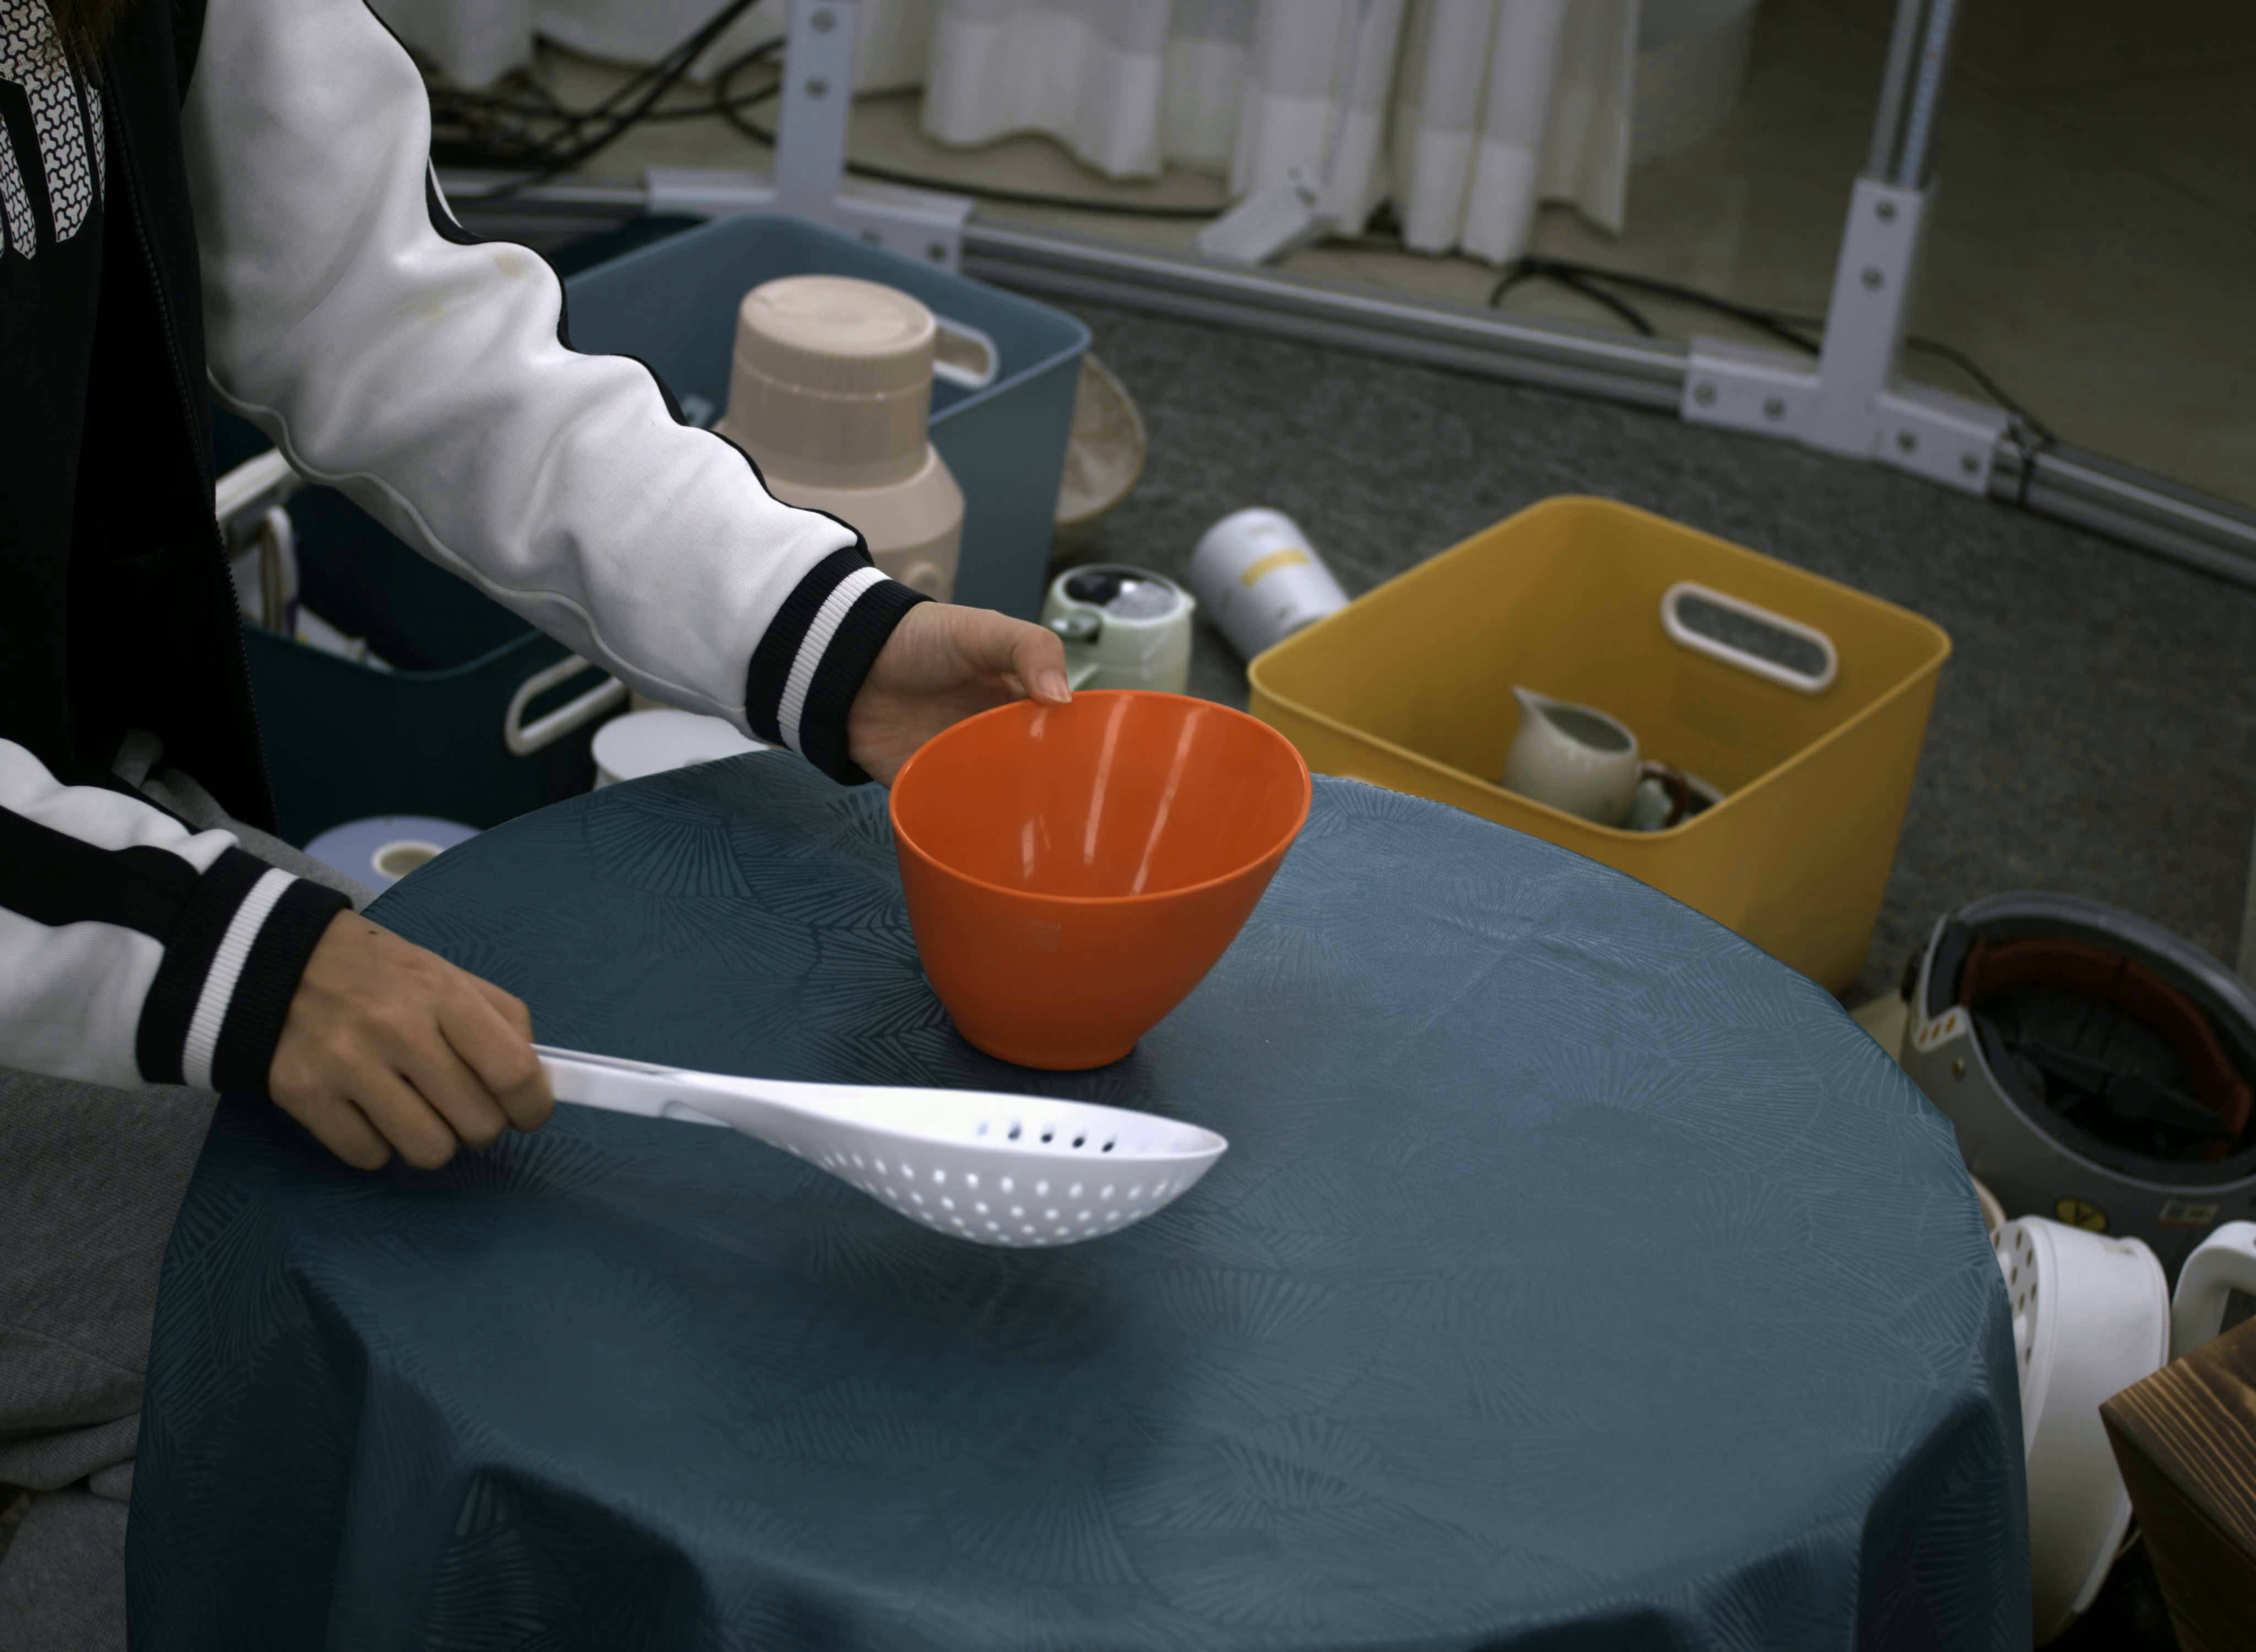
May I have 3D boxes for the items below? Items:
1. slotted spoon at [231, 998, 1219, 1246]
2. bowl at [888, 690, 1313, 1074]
[{"bbox_3d":[-0.138,0.088,1.736,0.351,0.046,0.135,13,4,22],"label":"slotted spoon"},{"bbox_3d":[-0.014,0.025,1.879,0.147,0.104,0.149,6,27,-4],"label":"bowl"}]
